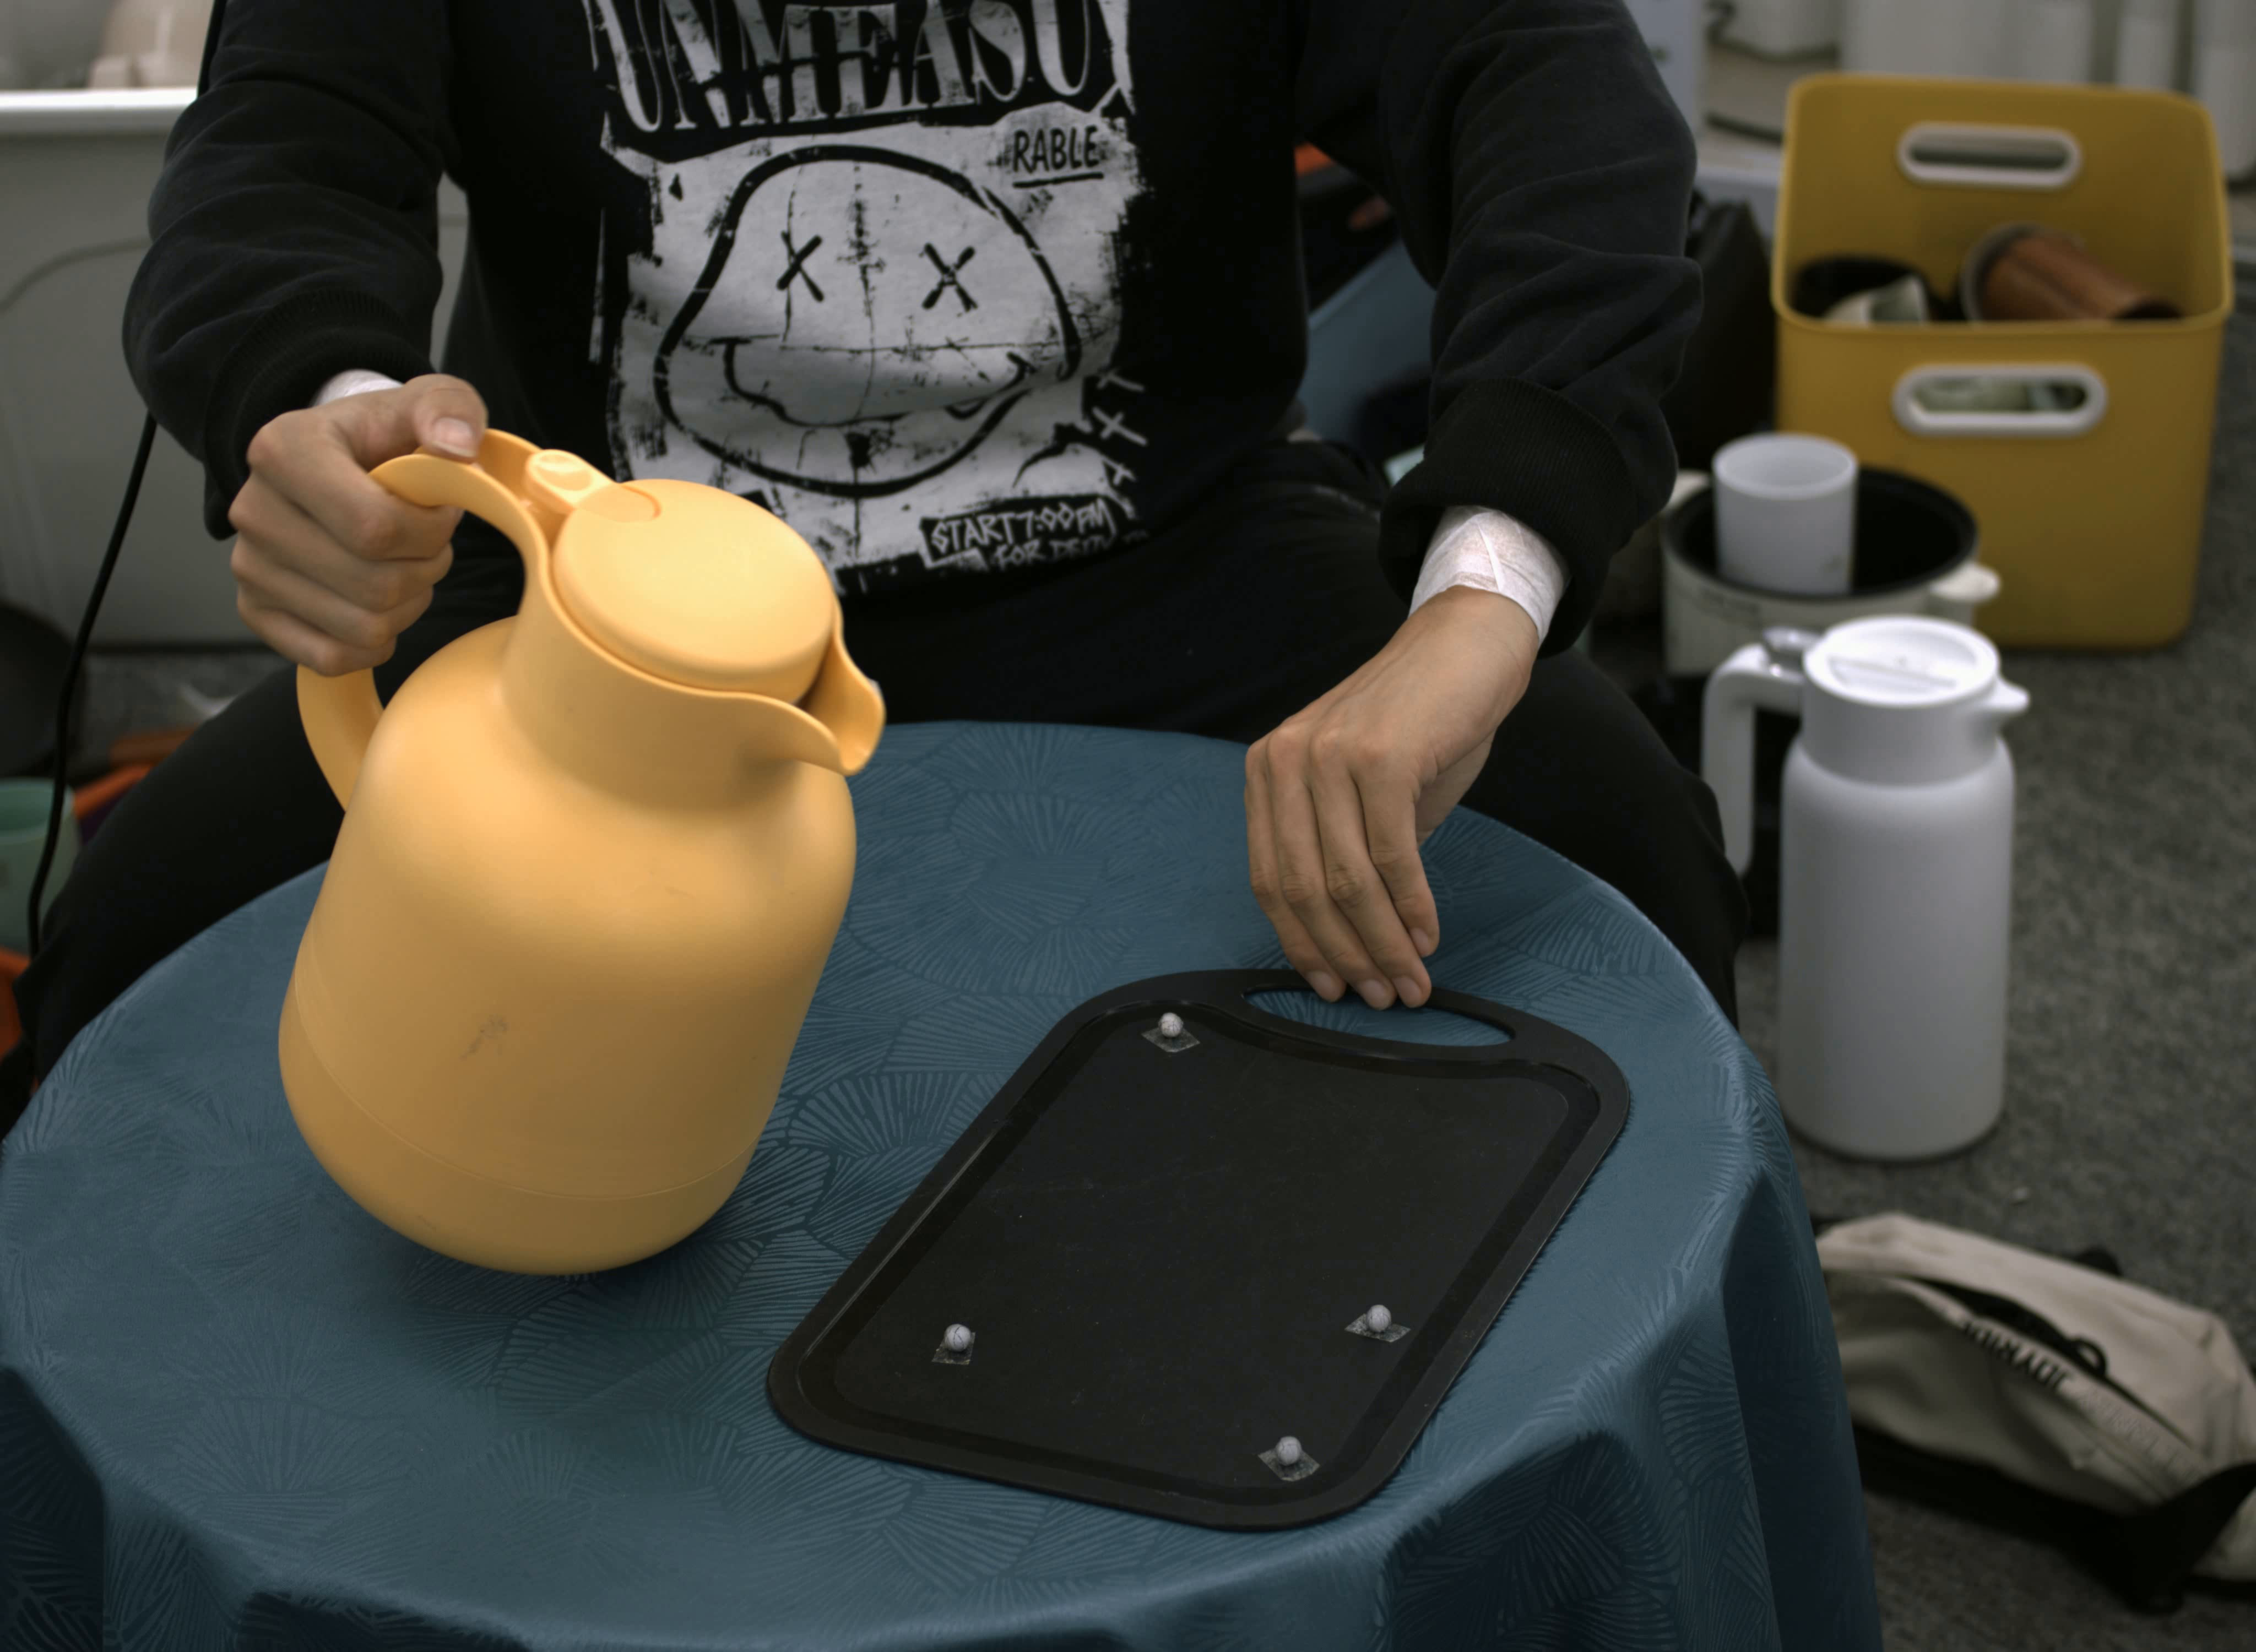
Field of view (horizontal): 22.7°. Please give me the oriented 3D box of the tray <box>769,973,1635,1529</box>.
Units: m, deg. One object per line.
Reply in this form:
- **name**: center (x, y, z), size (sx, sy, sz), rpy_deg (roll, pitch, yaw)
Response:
- **tray**: center (0.032, 0.127, 1.837), size (0.210, 0.009, 0.331), rpy_deg (9, 30, 22)

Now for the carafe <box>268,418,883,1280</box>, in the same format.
- **carafe**: center (-0.184, -0.002, 1.793), size (0.203, 0.256, 0.165), rpy_deg (37, 36, 18)
